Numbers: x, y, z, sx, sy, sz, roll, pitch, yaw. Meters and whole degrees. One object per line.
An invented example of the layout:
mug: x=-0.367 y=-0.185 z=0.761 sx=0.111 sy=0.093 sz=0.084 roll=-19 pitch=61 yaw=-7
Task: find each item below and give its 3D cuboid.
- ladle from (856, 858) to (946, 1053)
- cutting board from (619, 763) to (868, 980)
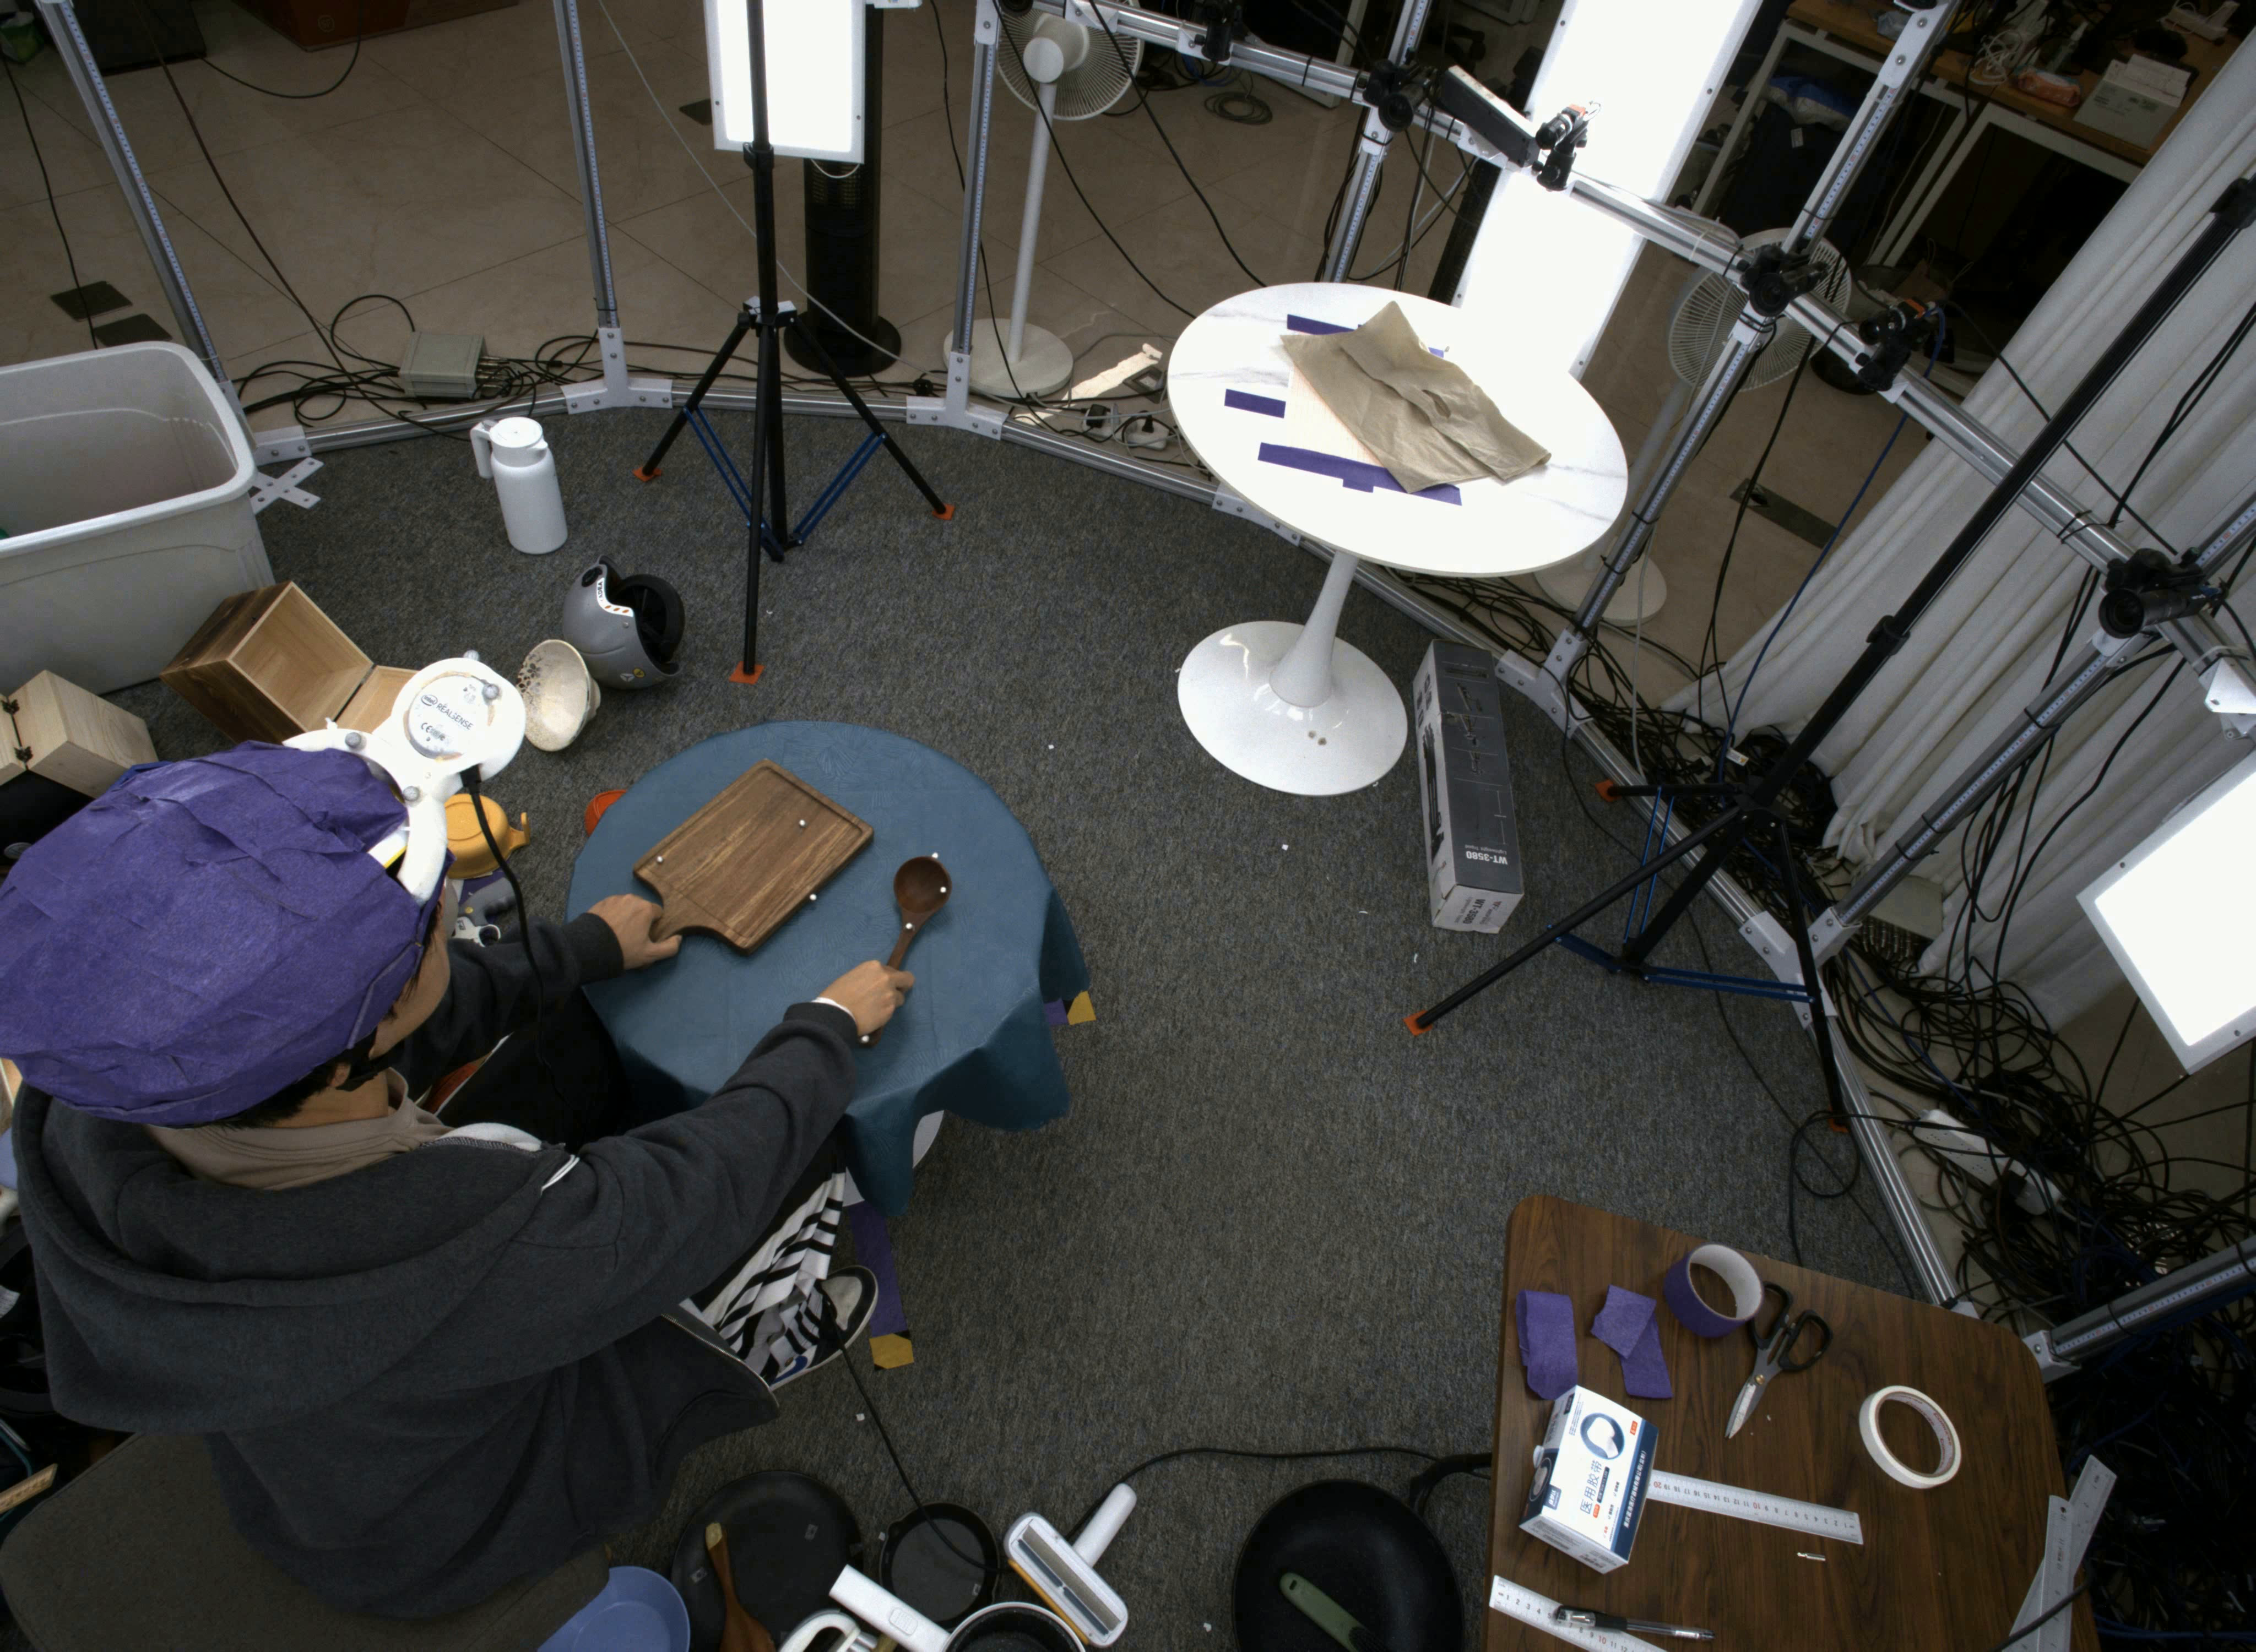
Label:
ladle: x=-0.291 y=0.152 z=1.608 sx=0.075 sy=0.067 sz=0.257 roll=8 pitch=51 yaw=10
cutting board: x=-0.514 y=0.067 z=1.637 sx=0.197 sy=0.024 sz=0.351 roll=32 pitch=51 yaw=11
